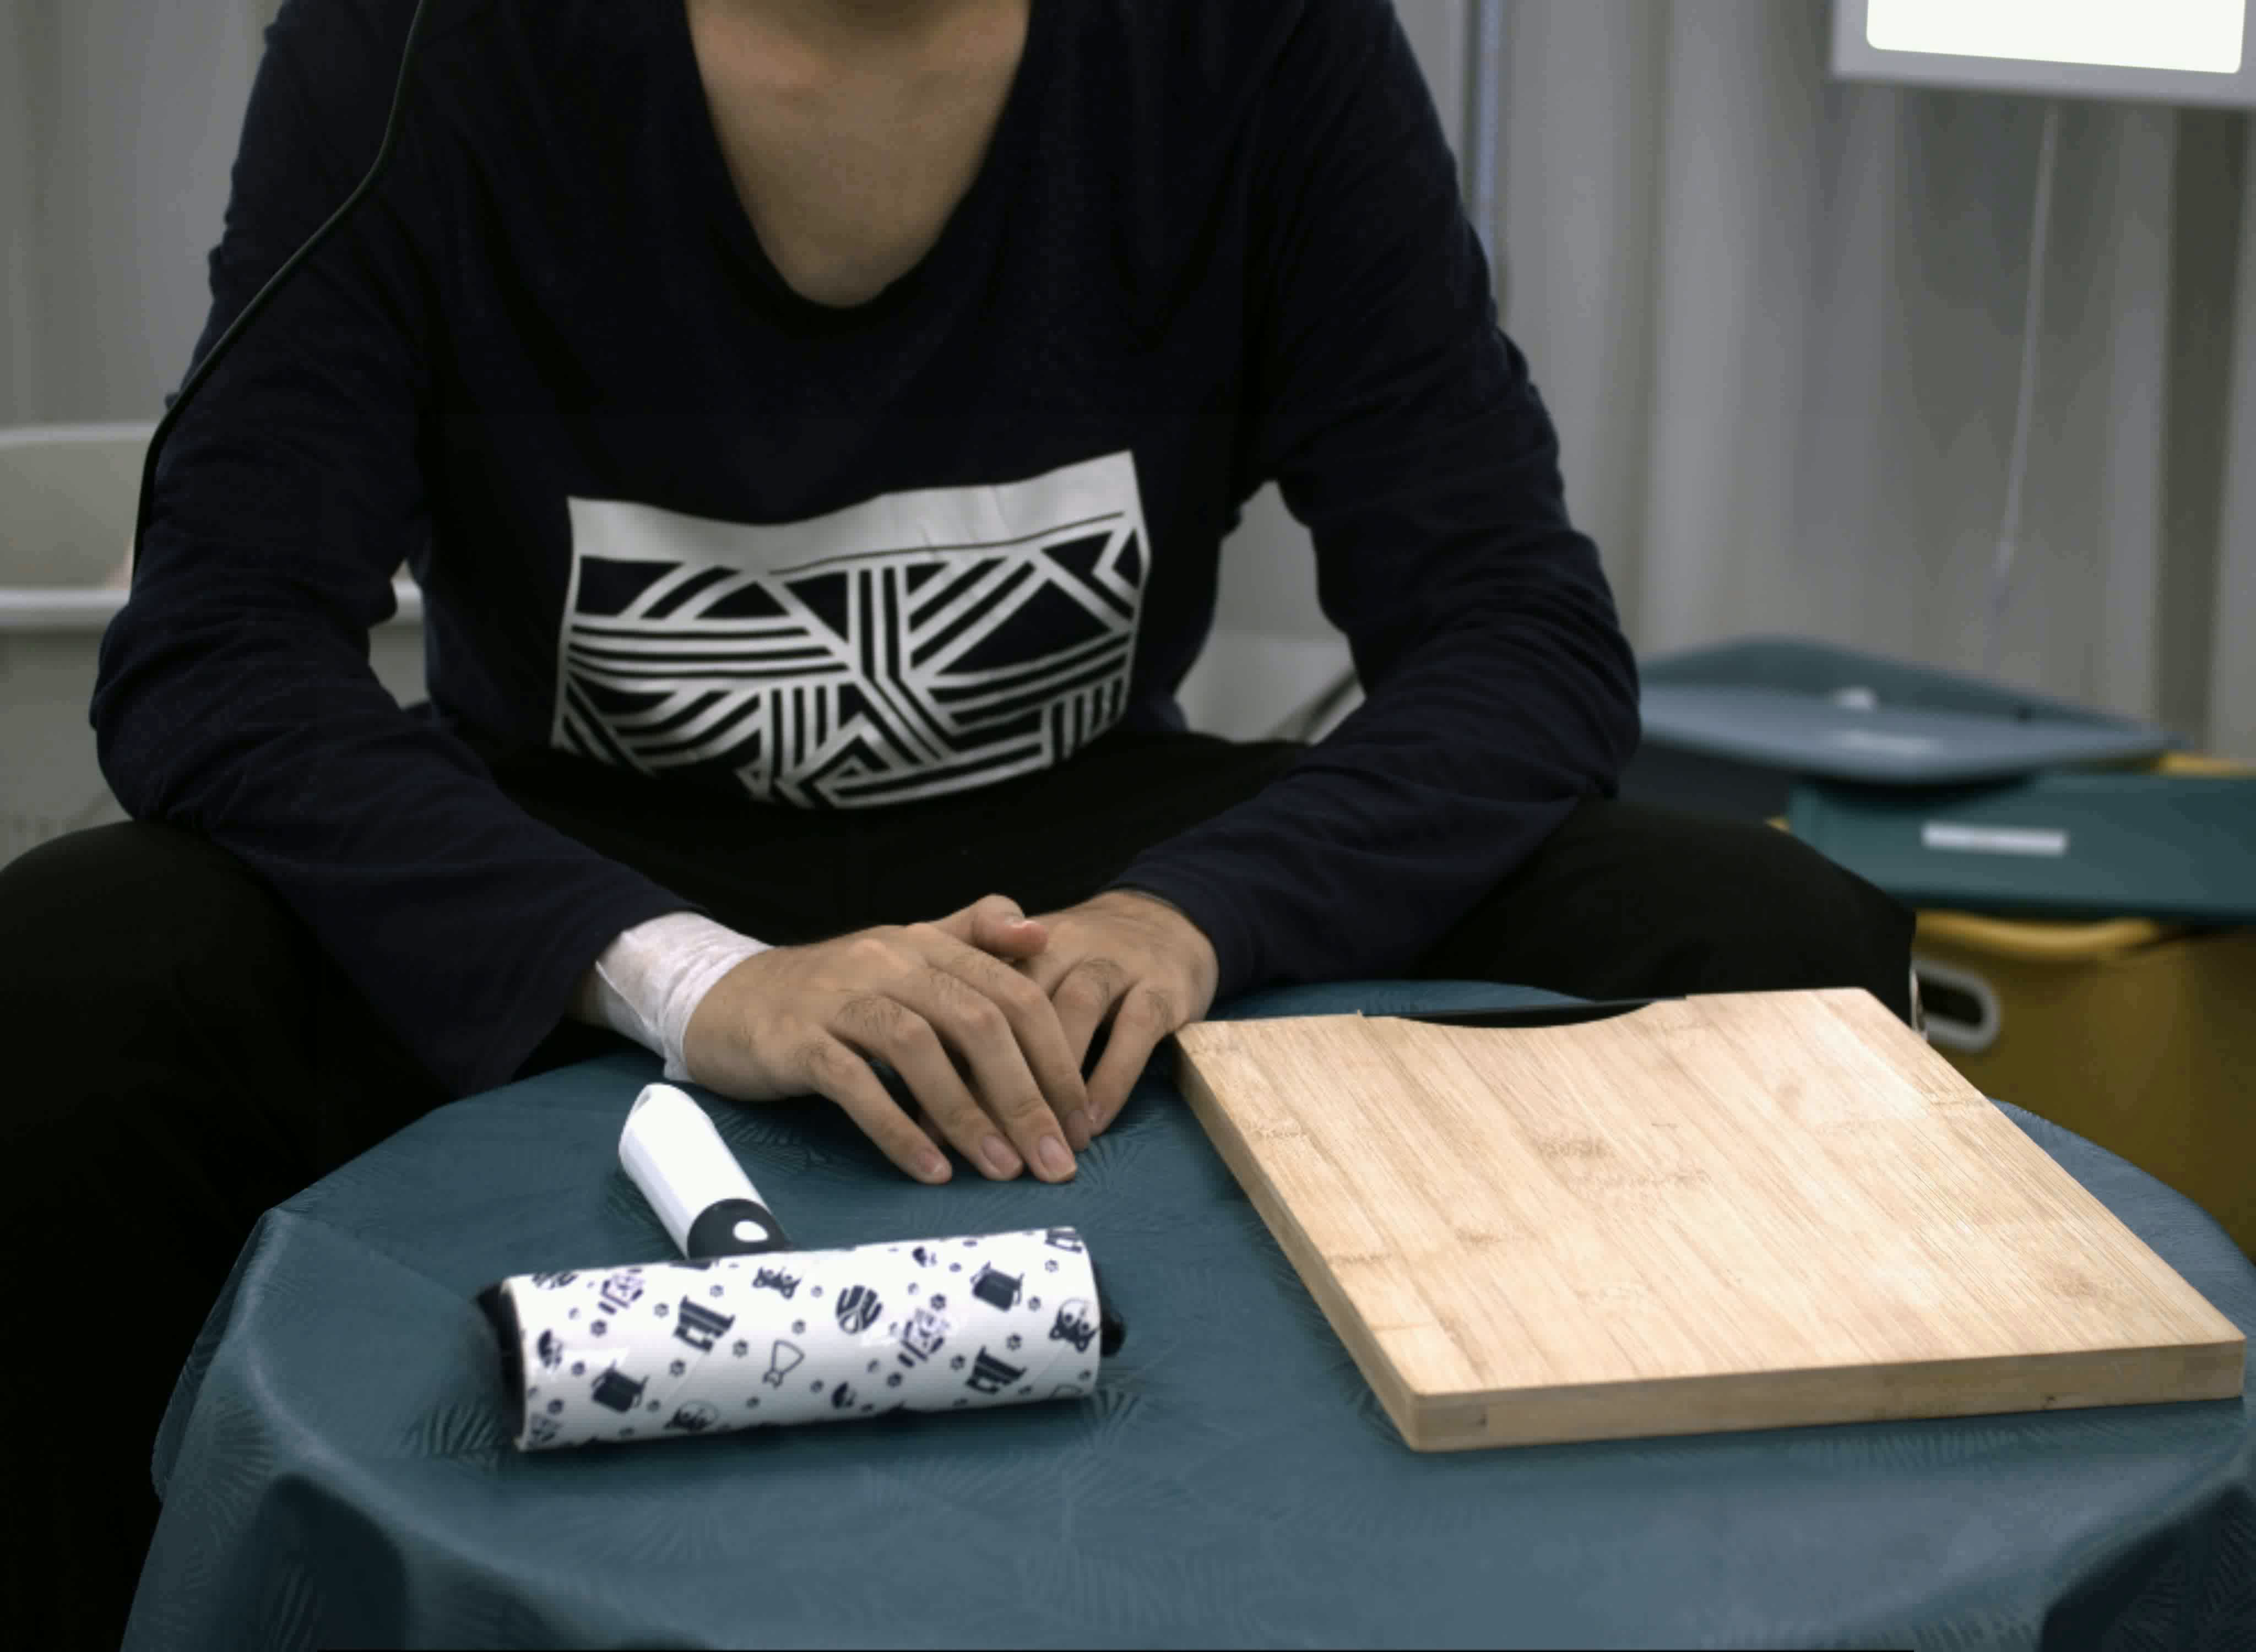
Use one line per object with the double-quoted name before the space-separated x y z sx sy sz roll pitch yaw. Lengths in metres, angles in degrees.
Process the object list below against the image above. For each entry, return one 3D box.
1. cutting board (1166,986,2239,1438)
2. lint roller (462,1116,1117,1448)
"cutting board" 0.161 0.112 1.604 0.251 0.024 0.345 -2 15 -12
"lint roller" -0.119 0.117 1.528 0.176 0.051 0.244 -5 14 -16
